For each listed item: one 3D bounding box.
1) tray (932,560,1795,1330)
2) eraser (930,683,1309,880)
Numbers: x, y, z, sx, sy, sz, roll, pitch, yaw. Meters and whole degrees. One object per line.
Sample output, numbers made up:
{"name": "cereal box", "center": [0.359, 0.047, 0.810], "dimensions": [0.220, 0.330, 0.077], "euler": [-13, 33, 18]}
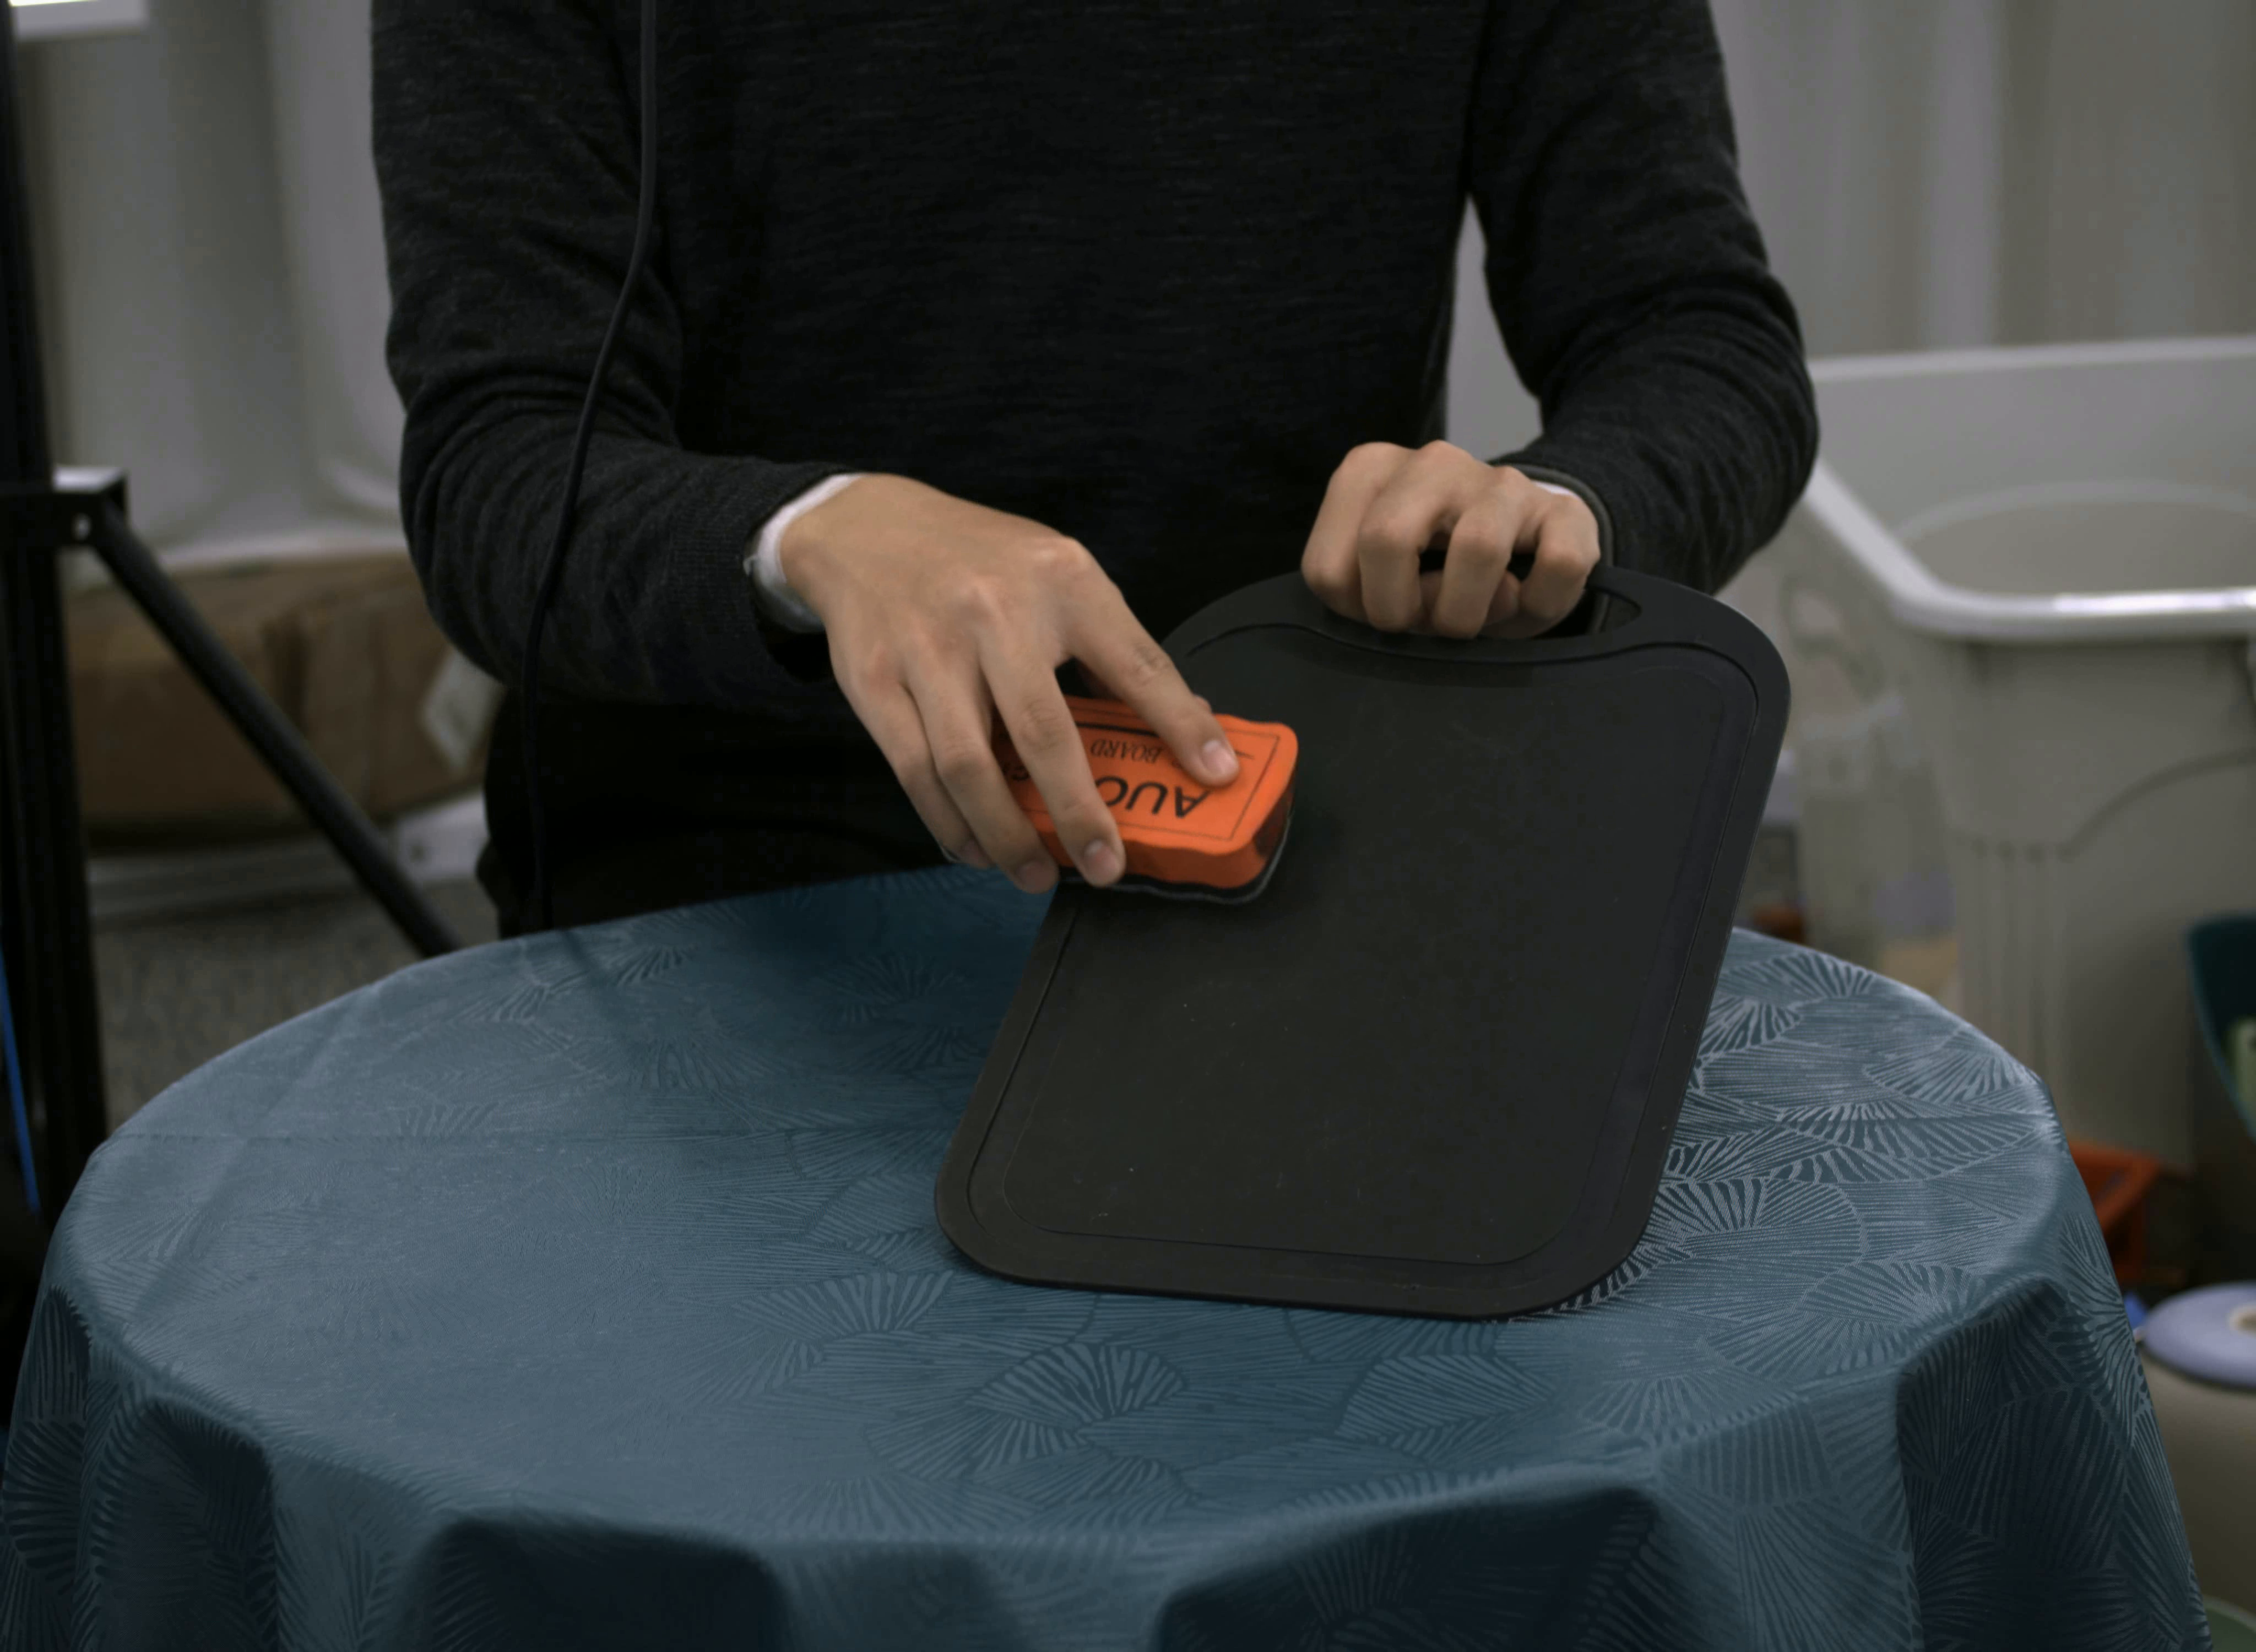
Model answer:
{"name": "tray", "center": [0.075, 0.024, 1.576], "dimensions": [0.213, 0.009, 0.325], "euler": [3, 43, 20]}
{"name": "eraser", "center": [-0.002, -0.014, 1.624], "dimensions": [0.109, 0.022, 0.059], "euler": [6, 42, 25]}
